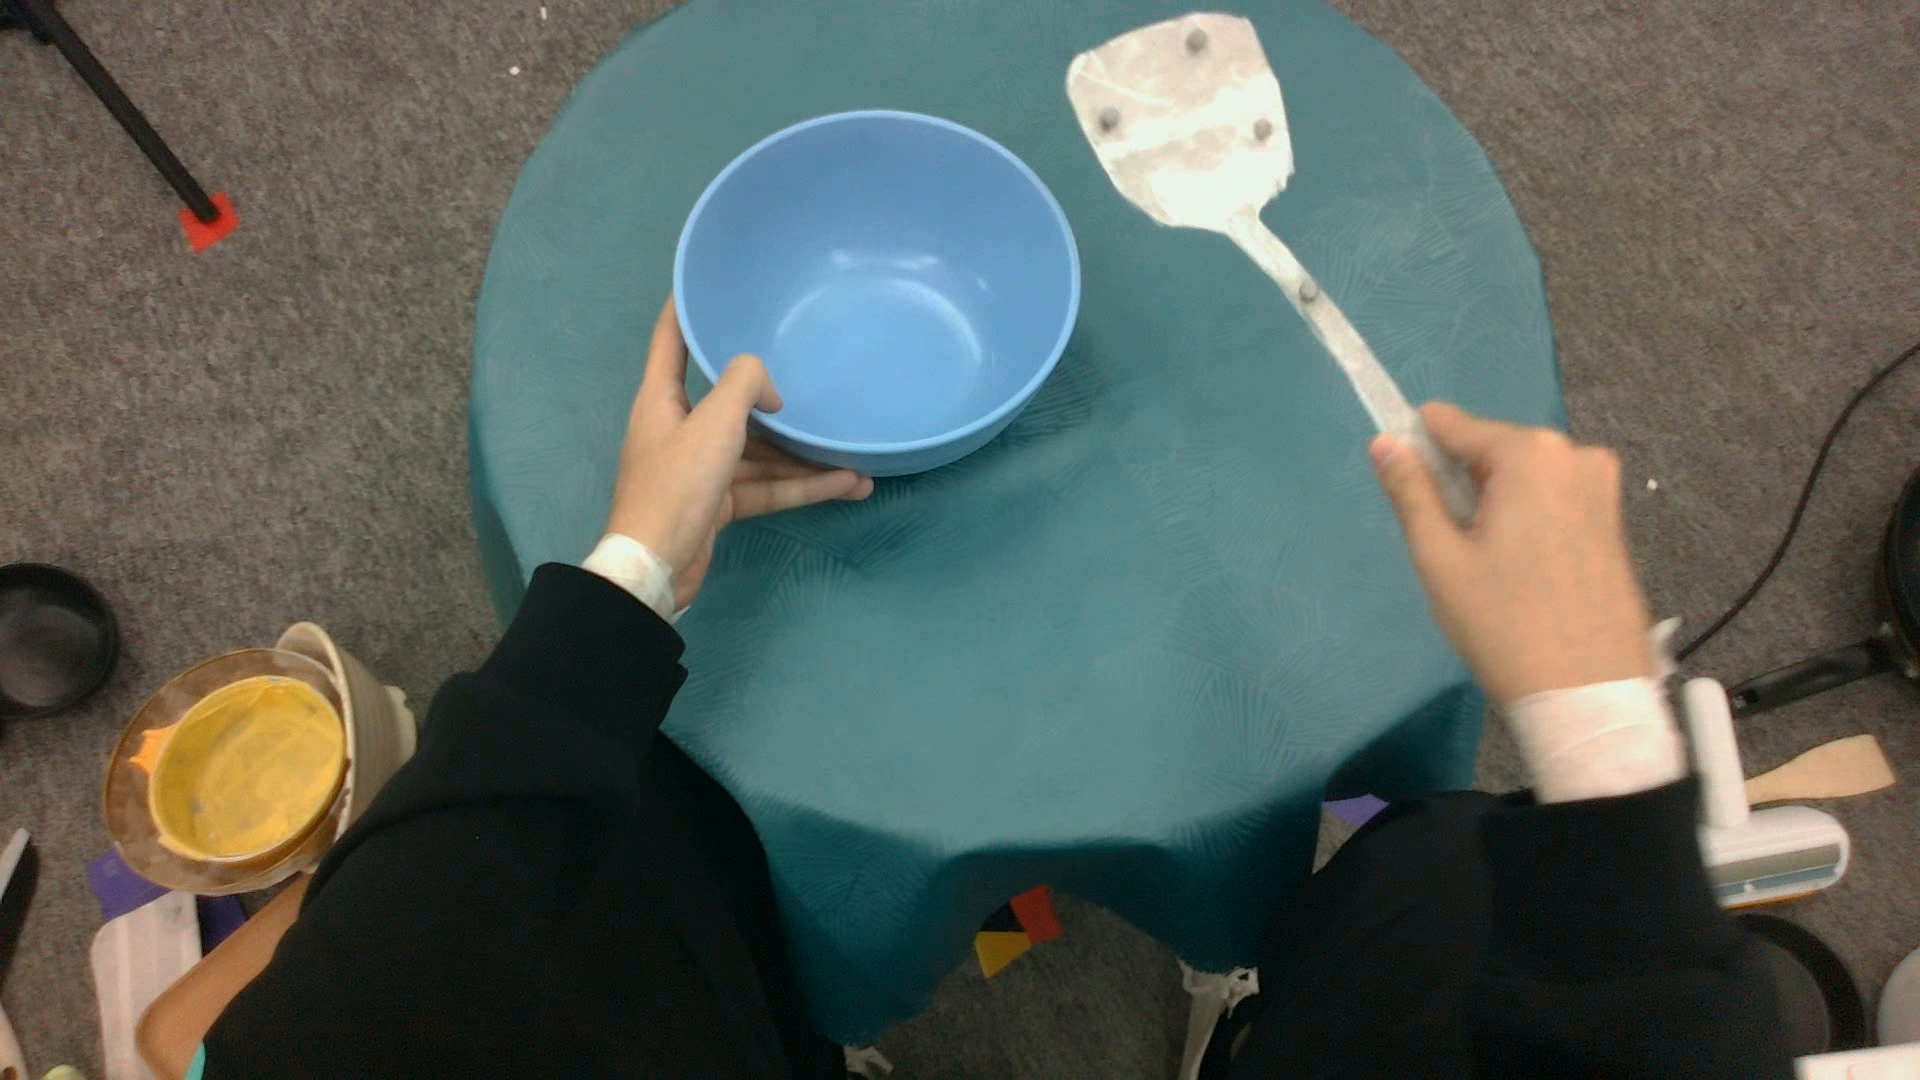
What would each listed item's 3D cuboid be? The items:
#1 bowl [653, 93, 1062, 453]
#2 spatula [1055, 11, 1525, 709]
[{"bbox_3d":[-0.051,-0.121,0.703,0.196,0.095,0.197,2,64,-3],"label":"bowl"},{"bbox_3d":[0.146,-0.096,0.584,0.099,0.044,0.366,-17,59,-11],"label":"spatula"}]
